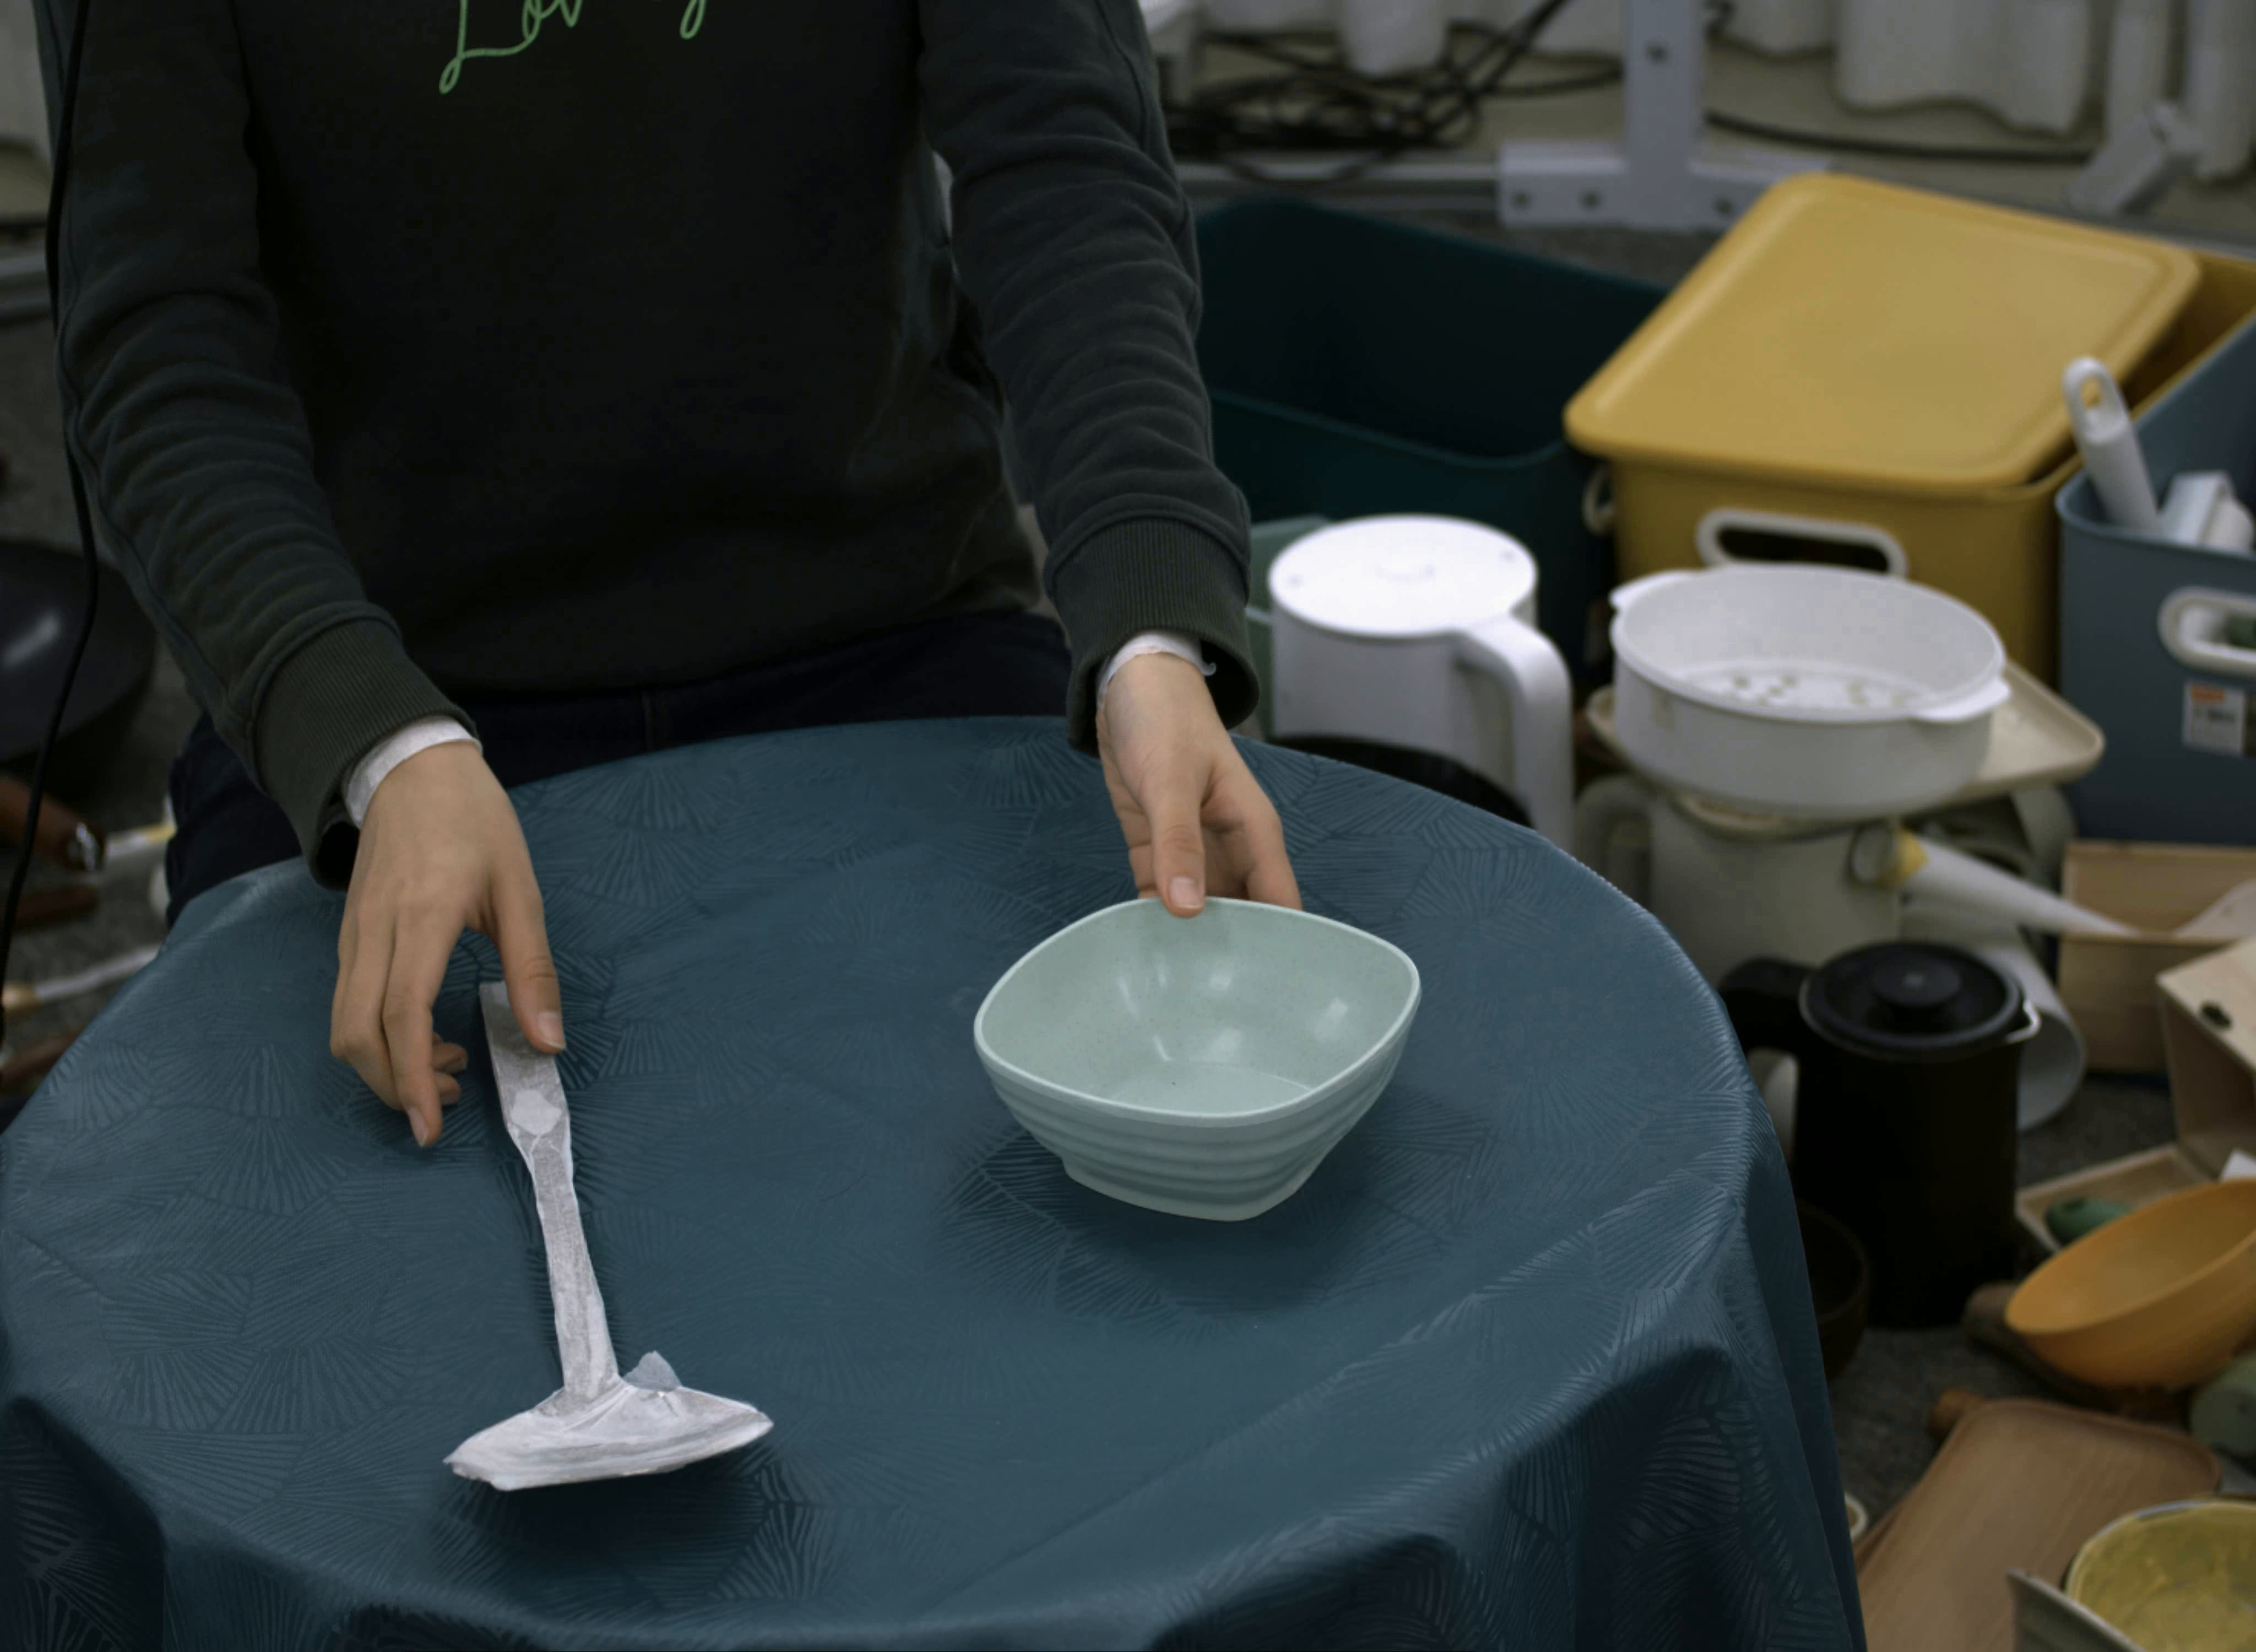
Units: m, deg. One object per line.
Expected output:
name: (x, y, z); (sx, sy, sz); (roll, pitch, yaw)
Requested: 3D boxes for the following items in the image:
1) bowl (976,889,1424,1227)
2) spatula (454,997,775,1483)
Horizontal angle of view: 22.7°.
bowl: (0.025, 0.084, 1.873); (0.151, 0.058, 0.154); (-1, 29, 1)
spatula: (-0.181, 0.127, 1.828); (0.098, 0.044, 0.369); (-9, 28, -7)
